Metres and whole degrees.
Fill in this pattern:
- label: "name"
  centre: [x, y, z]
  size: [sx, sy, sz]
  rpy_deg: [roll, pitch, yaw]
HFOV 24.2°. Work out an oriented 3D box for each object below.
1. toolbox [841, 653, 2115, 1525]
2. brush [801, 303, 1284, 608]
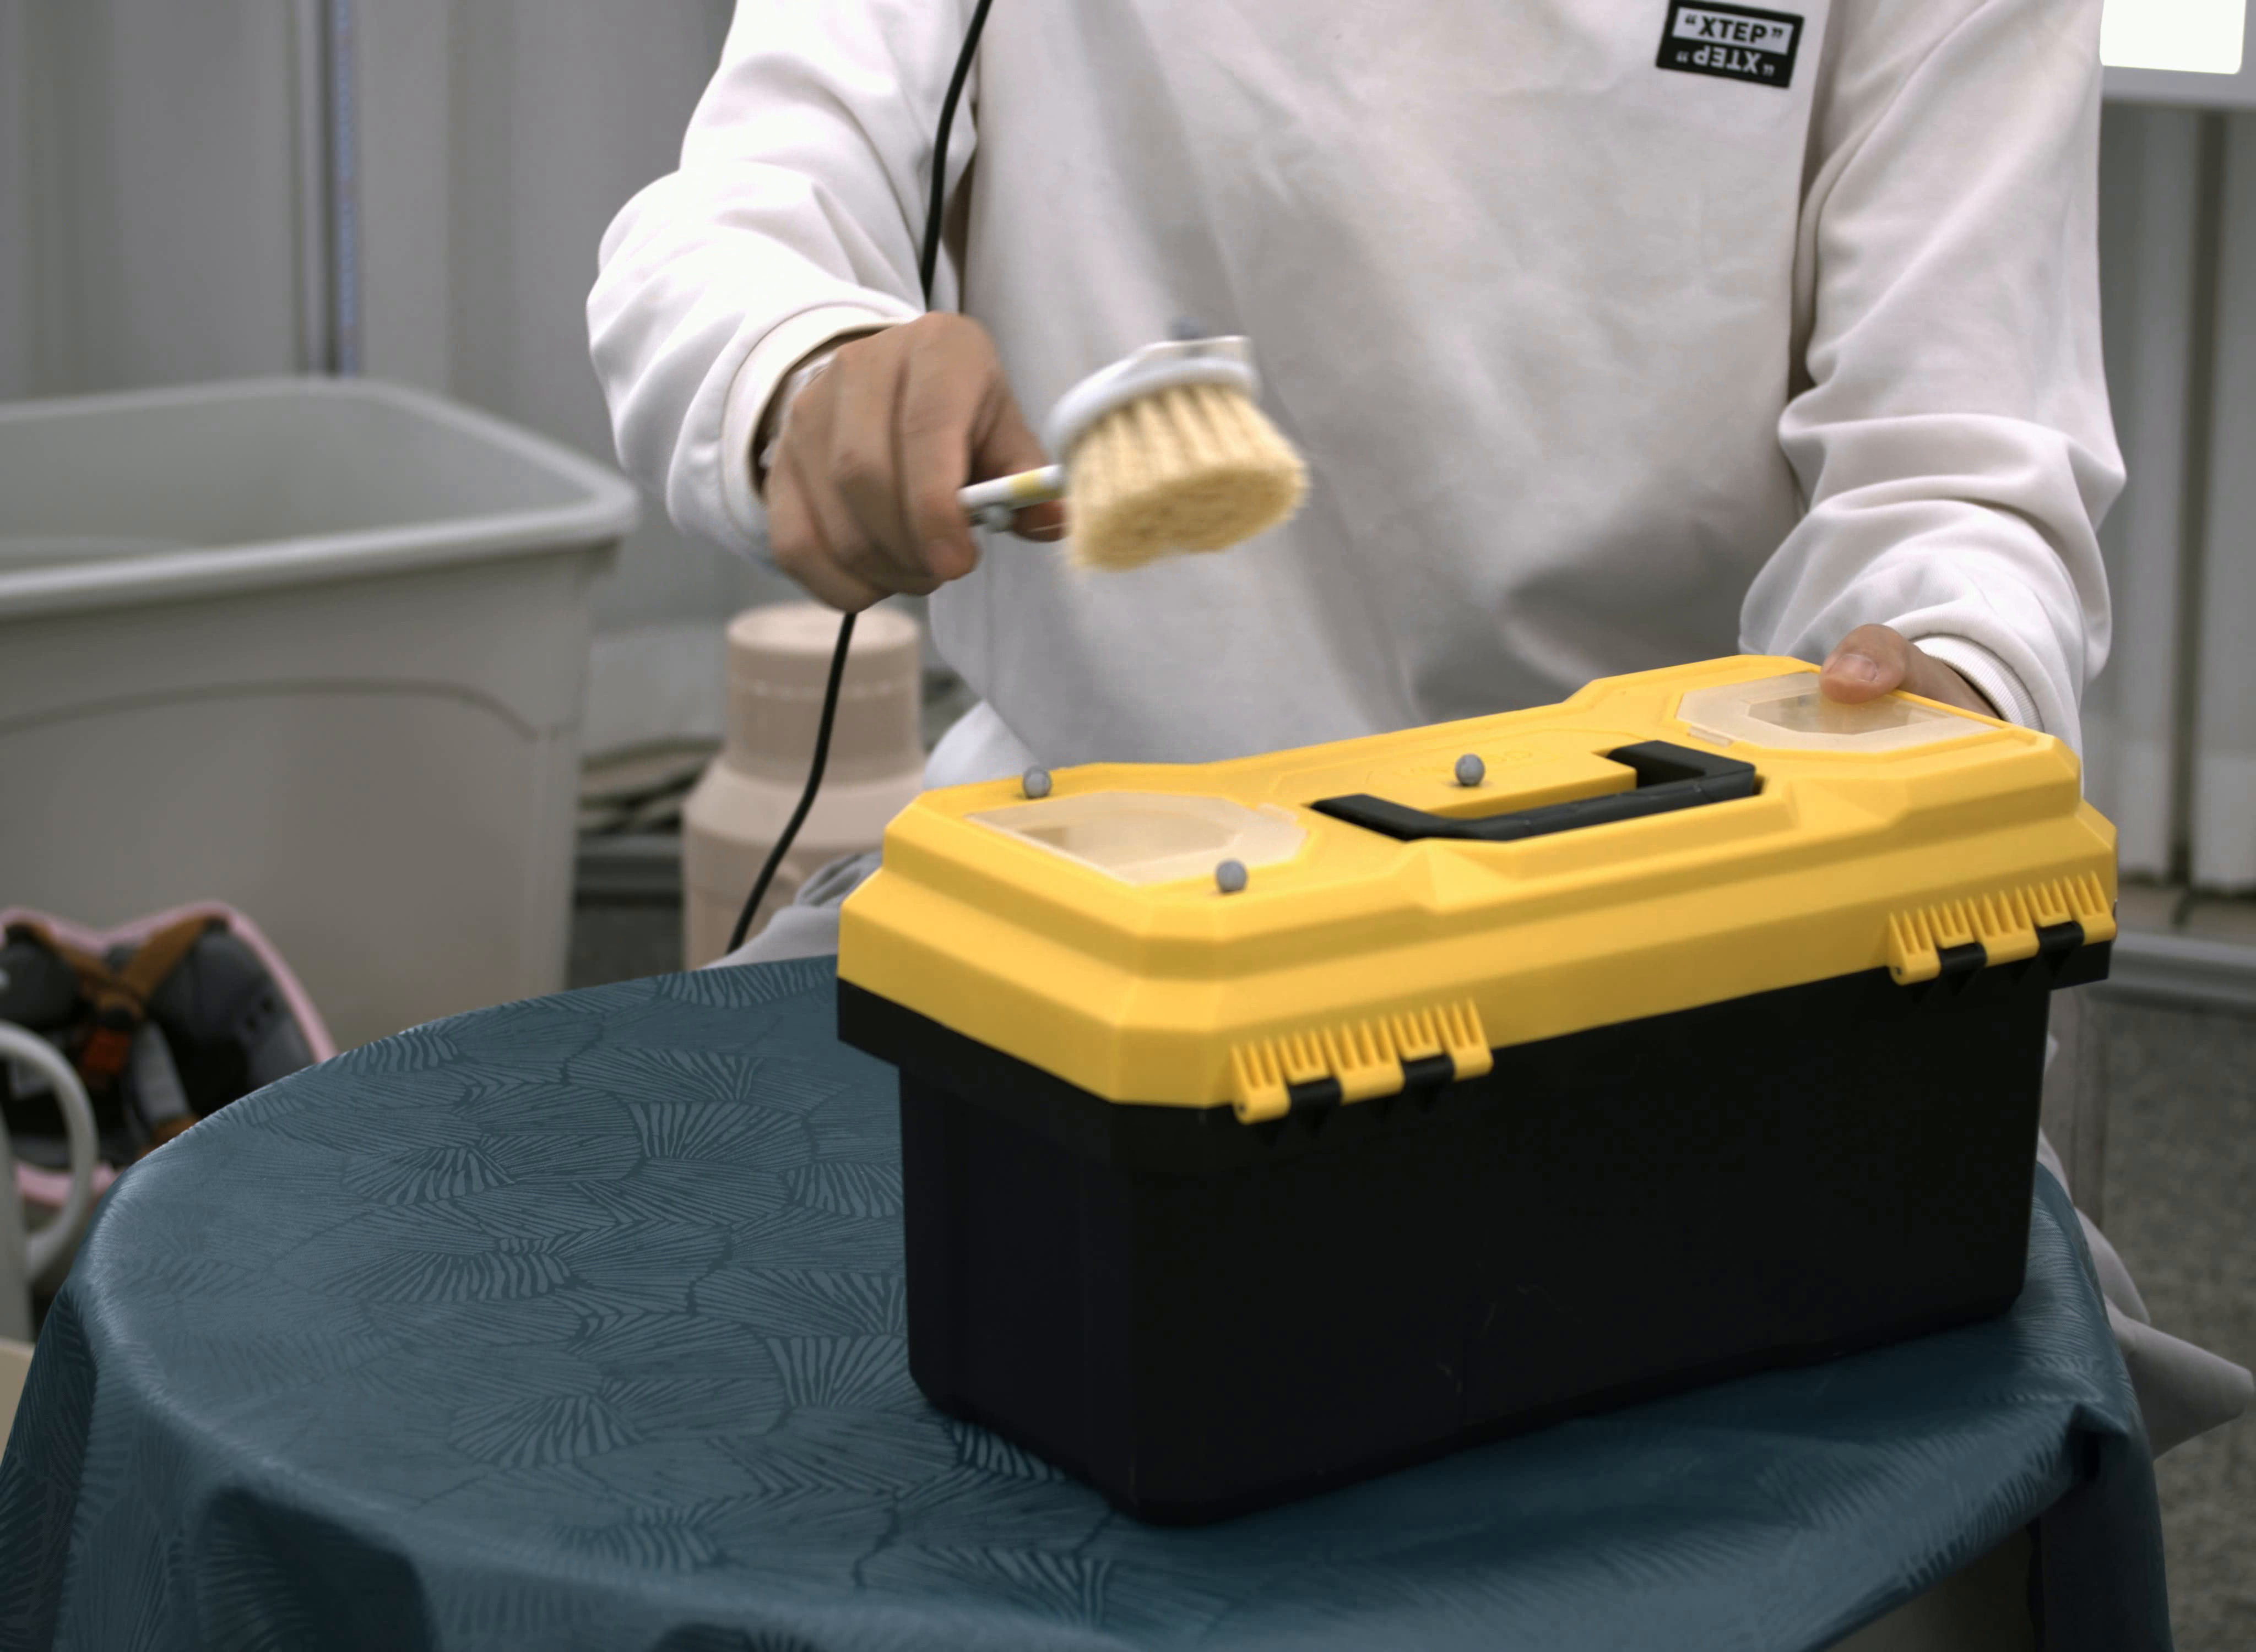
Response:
- label: "toolbox"
  centre: [0.101, 0.066, 1.478]
  size: [0.353, 0.174, 0.179]
  rpy_deg: [-9, 20, -34]
- label: "brush"
  centre: [-0.034, -0.082, 1.529]
  size: [0.069, 0.056, 0.265]
  rpy_deg: [6, -17, -25]
